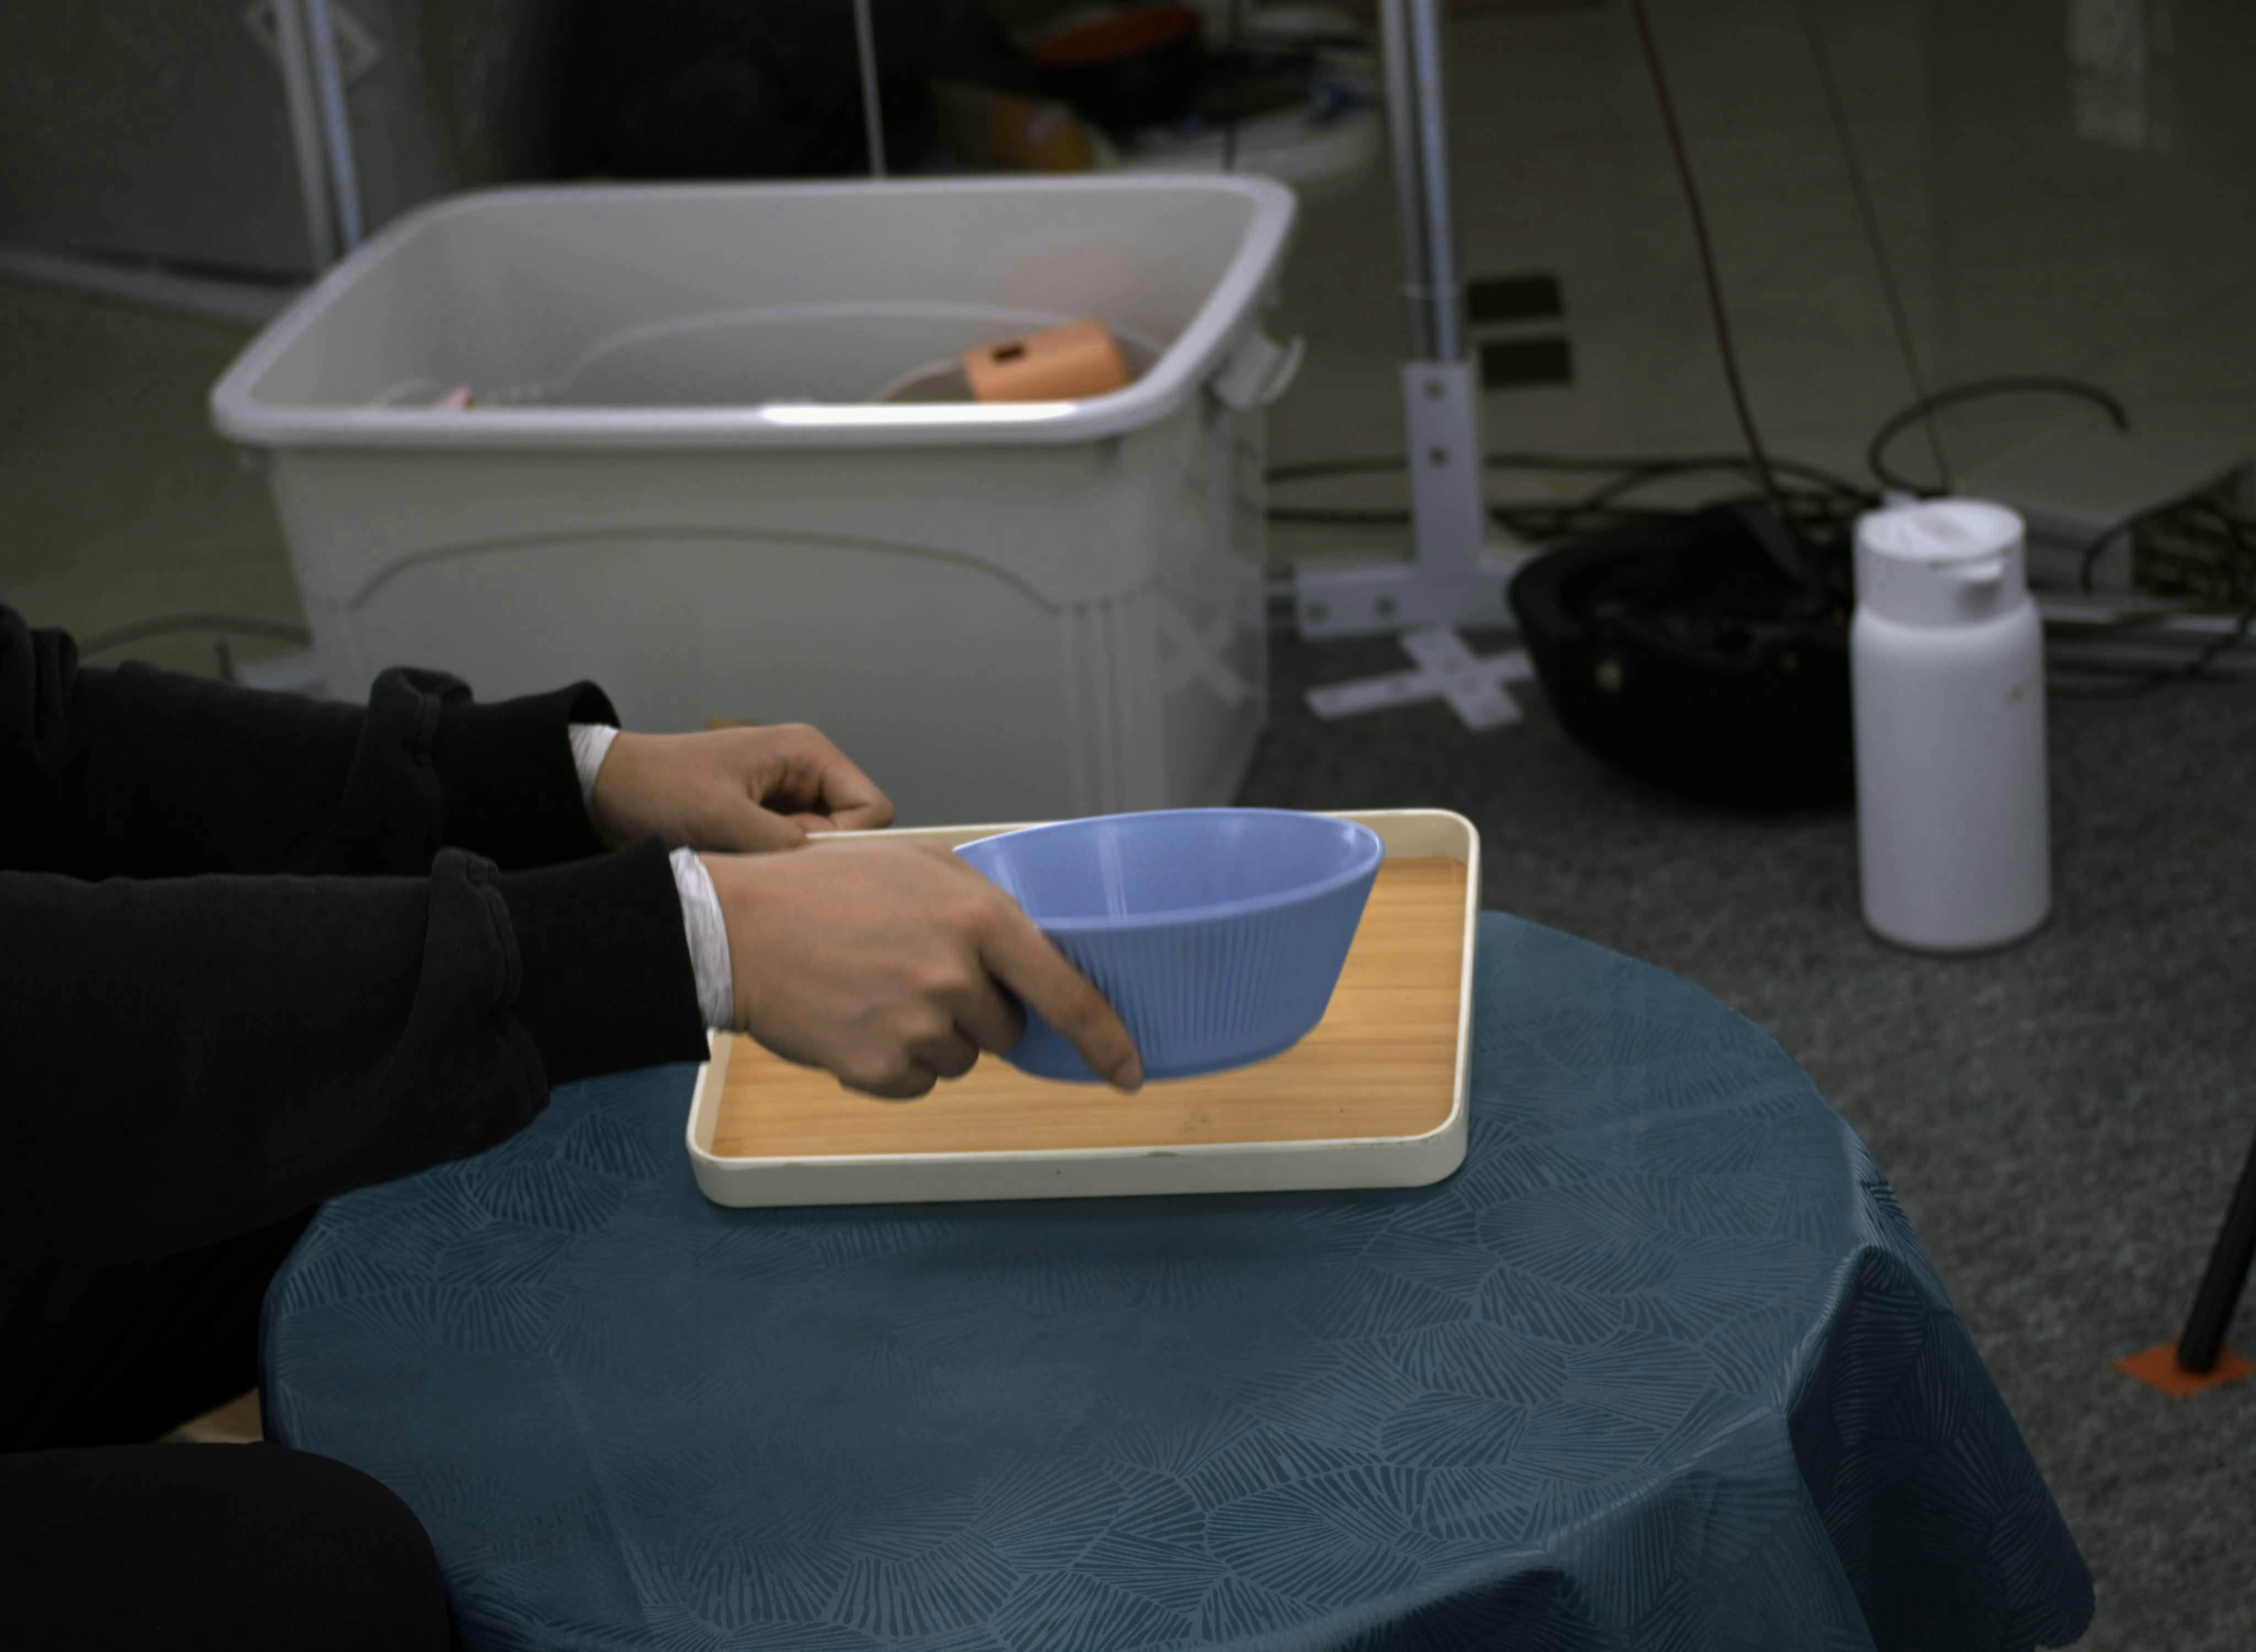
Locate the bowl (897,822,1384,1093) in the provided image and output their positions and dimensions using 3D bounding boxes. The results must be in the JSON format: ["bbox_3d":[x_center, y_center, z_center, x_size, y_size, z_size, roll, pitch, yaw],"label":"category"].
[{"bbox_3d":[0.006,0.049,2.036,0.176,0.071,0.174,-3,13,1],"label":"bowl"}]

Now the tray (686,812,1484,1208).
[{"bbox_3d":[-0.014,0.071,2.211,0.300,0.028,0.188,-2,42,8],"label":"tray"}]
